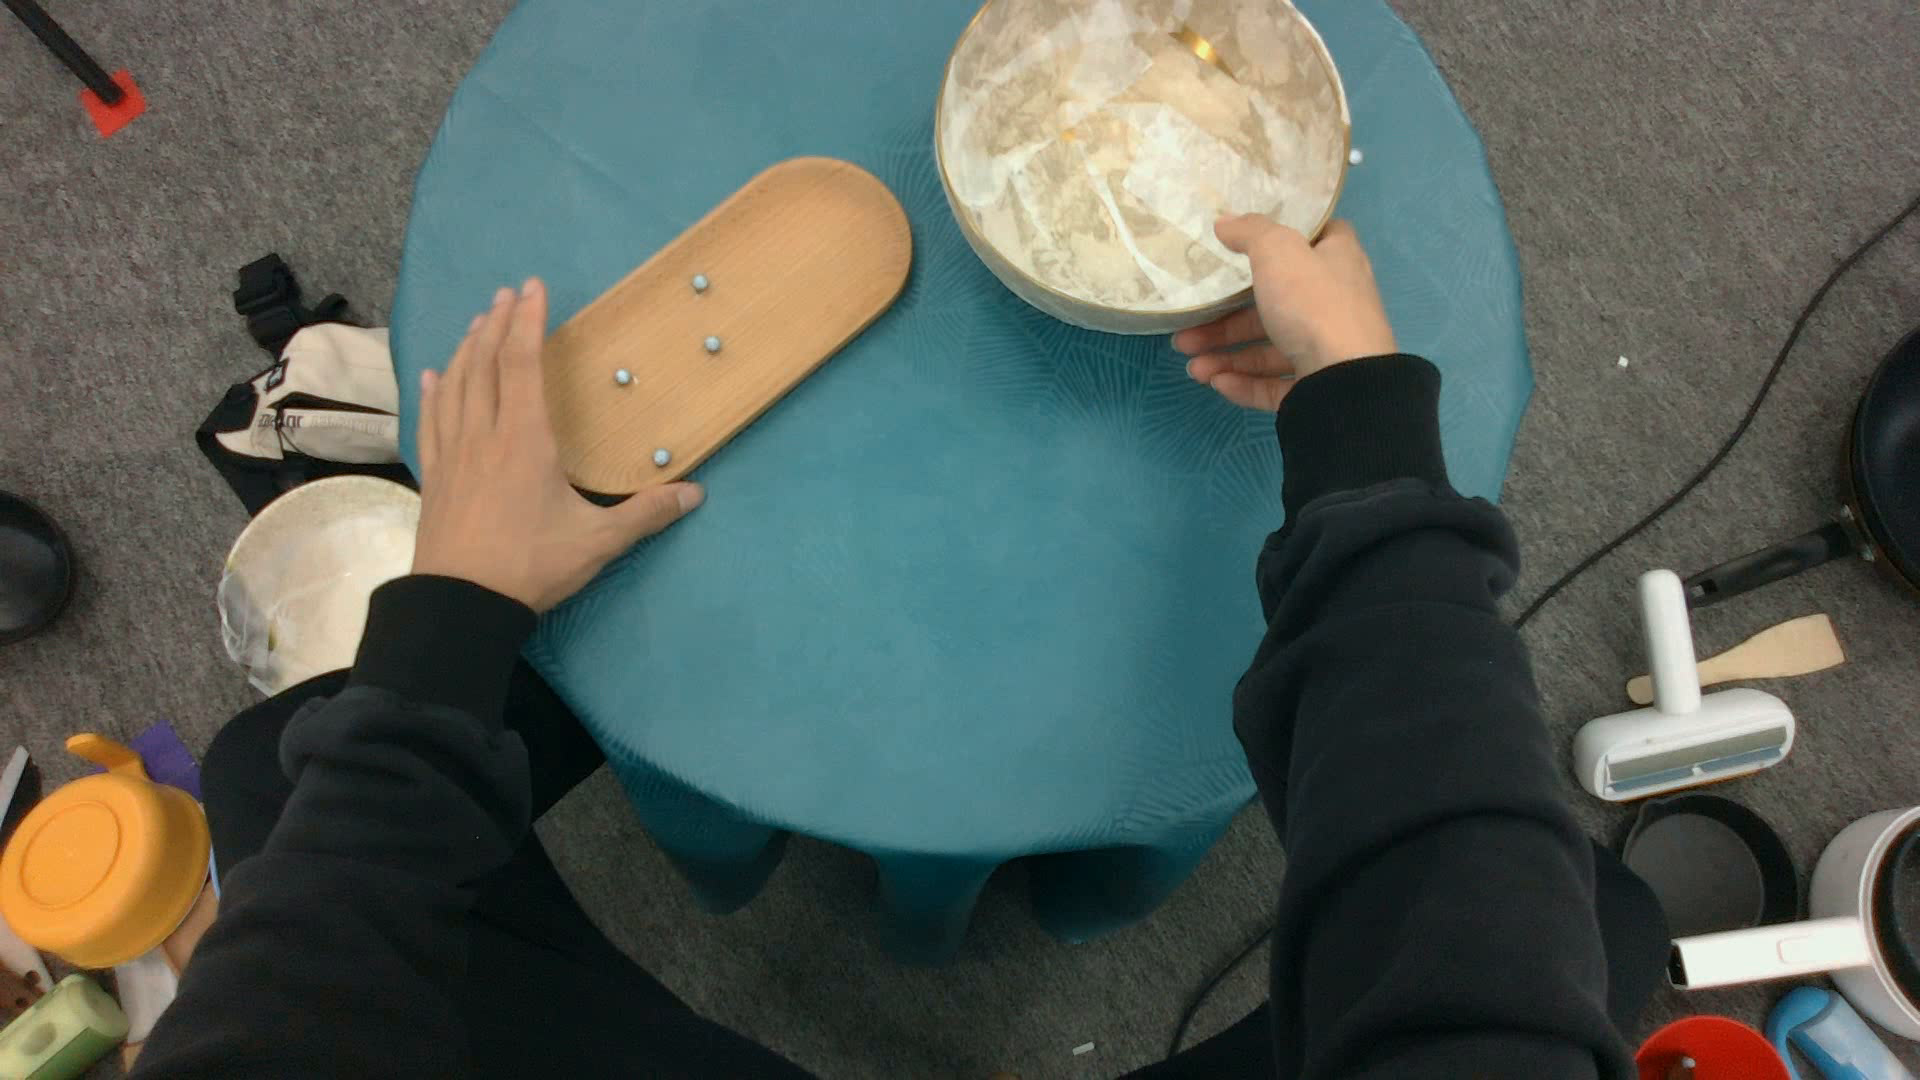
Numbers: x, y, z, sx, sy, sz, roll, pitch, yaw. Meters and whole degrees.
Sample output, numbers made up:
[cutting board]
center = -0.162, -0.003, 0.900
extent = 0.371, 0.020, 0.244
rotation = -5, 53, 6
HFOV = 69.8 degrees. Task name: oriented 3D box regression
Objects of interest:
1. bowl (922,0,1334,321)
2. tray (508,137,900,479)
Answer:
[bowl]
center = 0.077, -0.195, 0.707
extent = 0.215, 0.094, 0.215
rotation = 1, 76, -4
[tray]
center = -0.130, -0.122, 0.715
extent = 0.232, 0.020, 0.102
rotation = -42, 84, -14
